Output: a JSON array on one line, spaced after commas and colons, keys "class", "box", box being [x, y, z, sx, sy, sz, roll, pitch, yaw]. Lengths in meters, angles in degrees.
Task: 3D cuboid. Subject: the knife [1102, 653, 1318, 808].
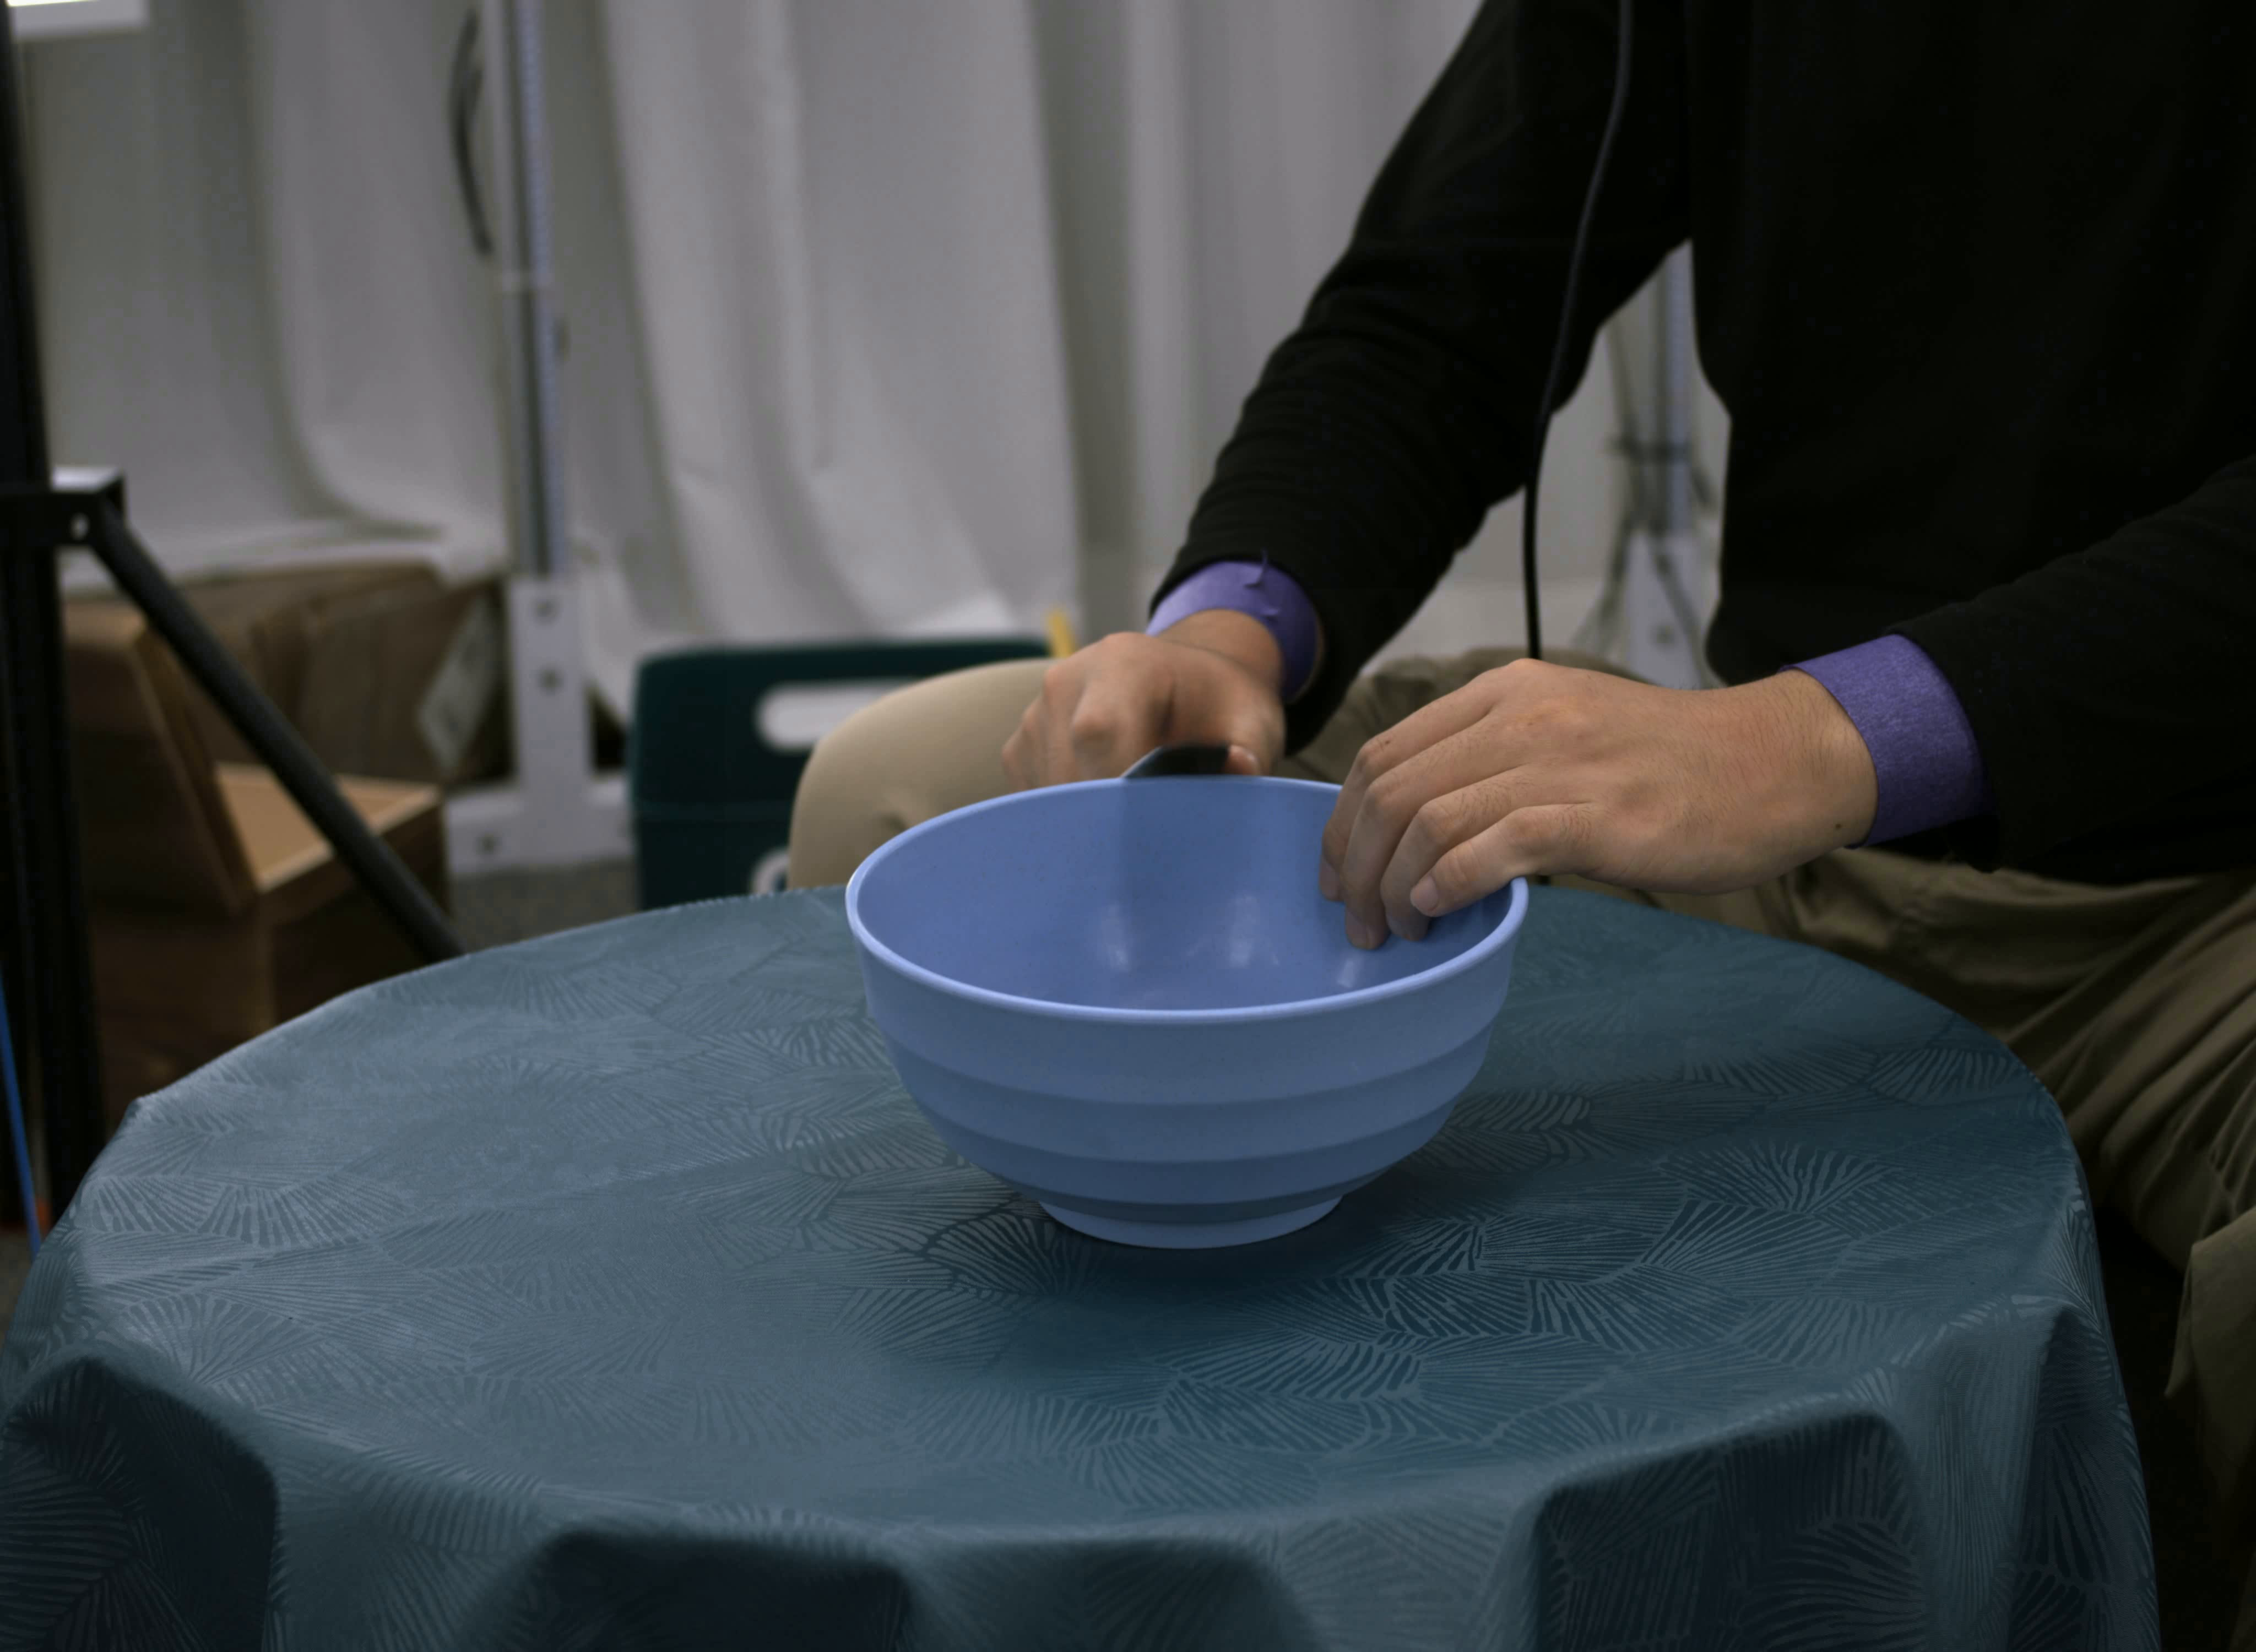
[{"class": "knife", "box": [0.021, -0.024, 1.628, 0.050, 0.020, 0.290, -28, -2, -9]}]

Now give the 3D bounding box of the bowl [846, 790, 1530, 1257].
[{"class": "bowl", "box": [0.017, 0.063, 1.533, 0.195, 0.095, 0.197, -1, 18, -1]}]
